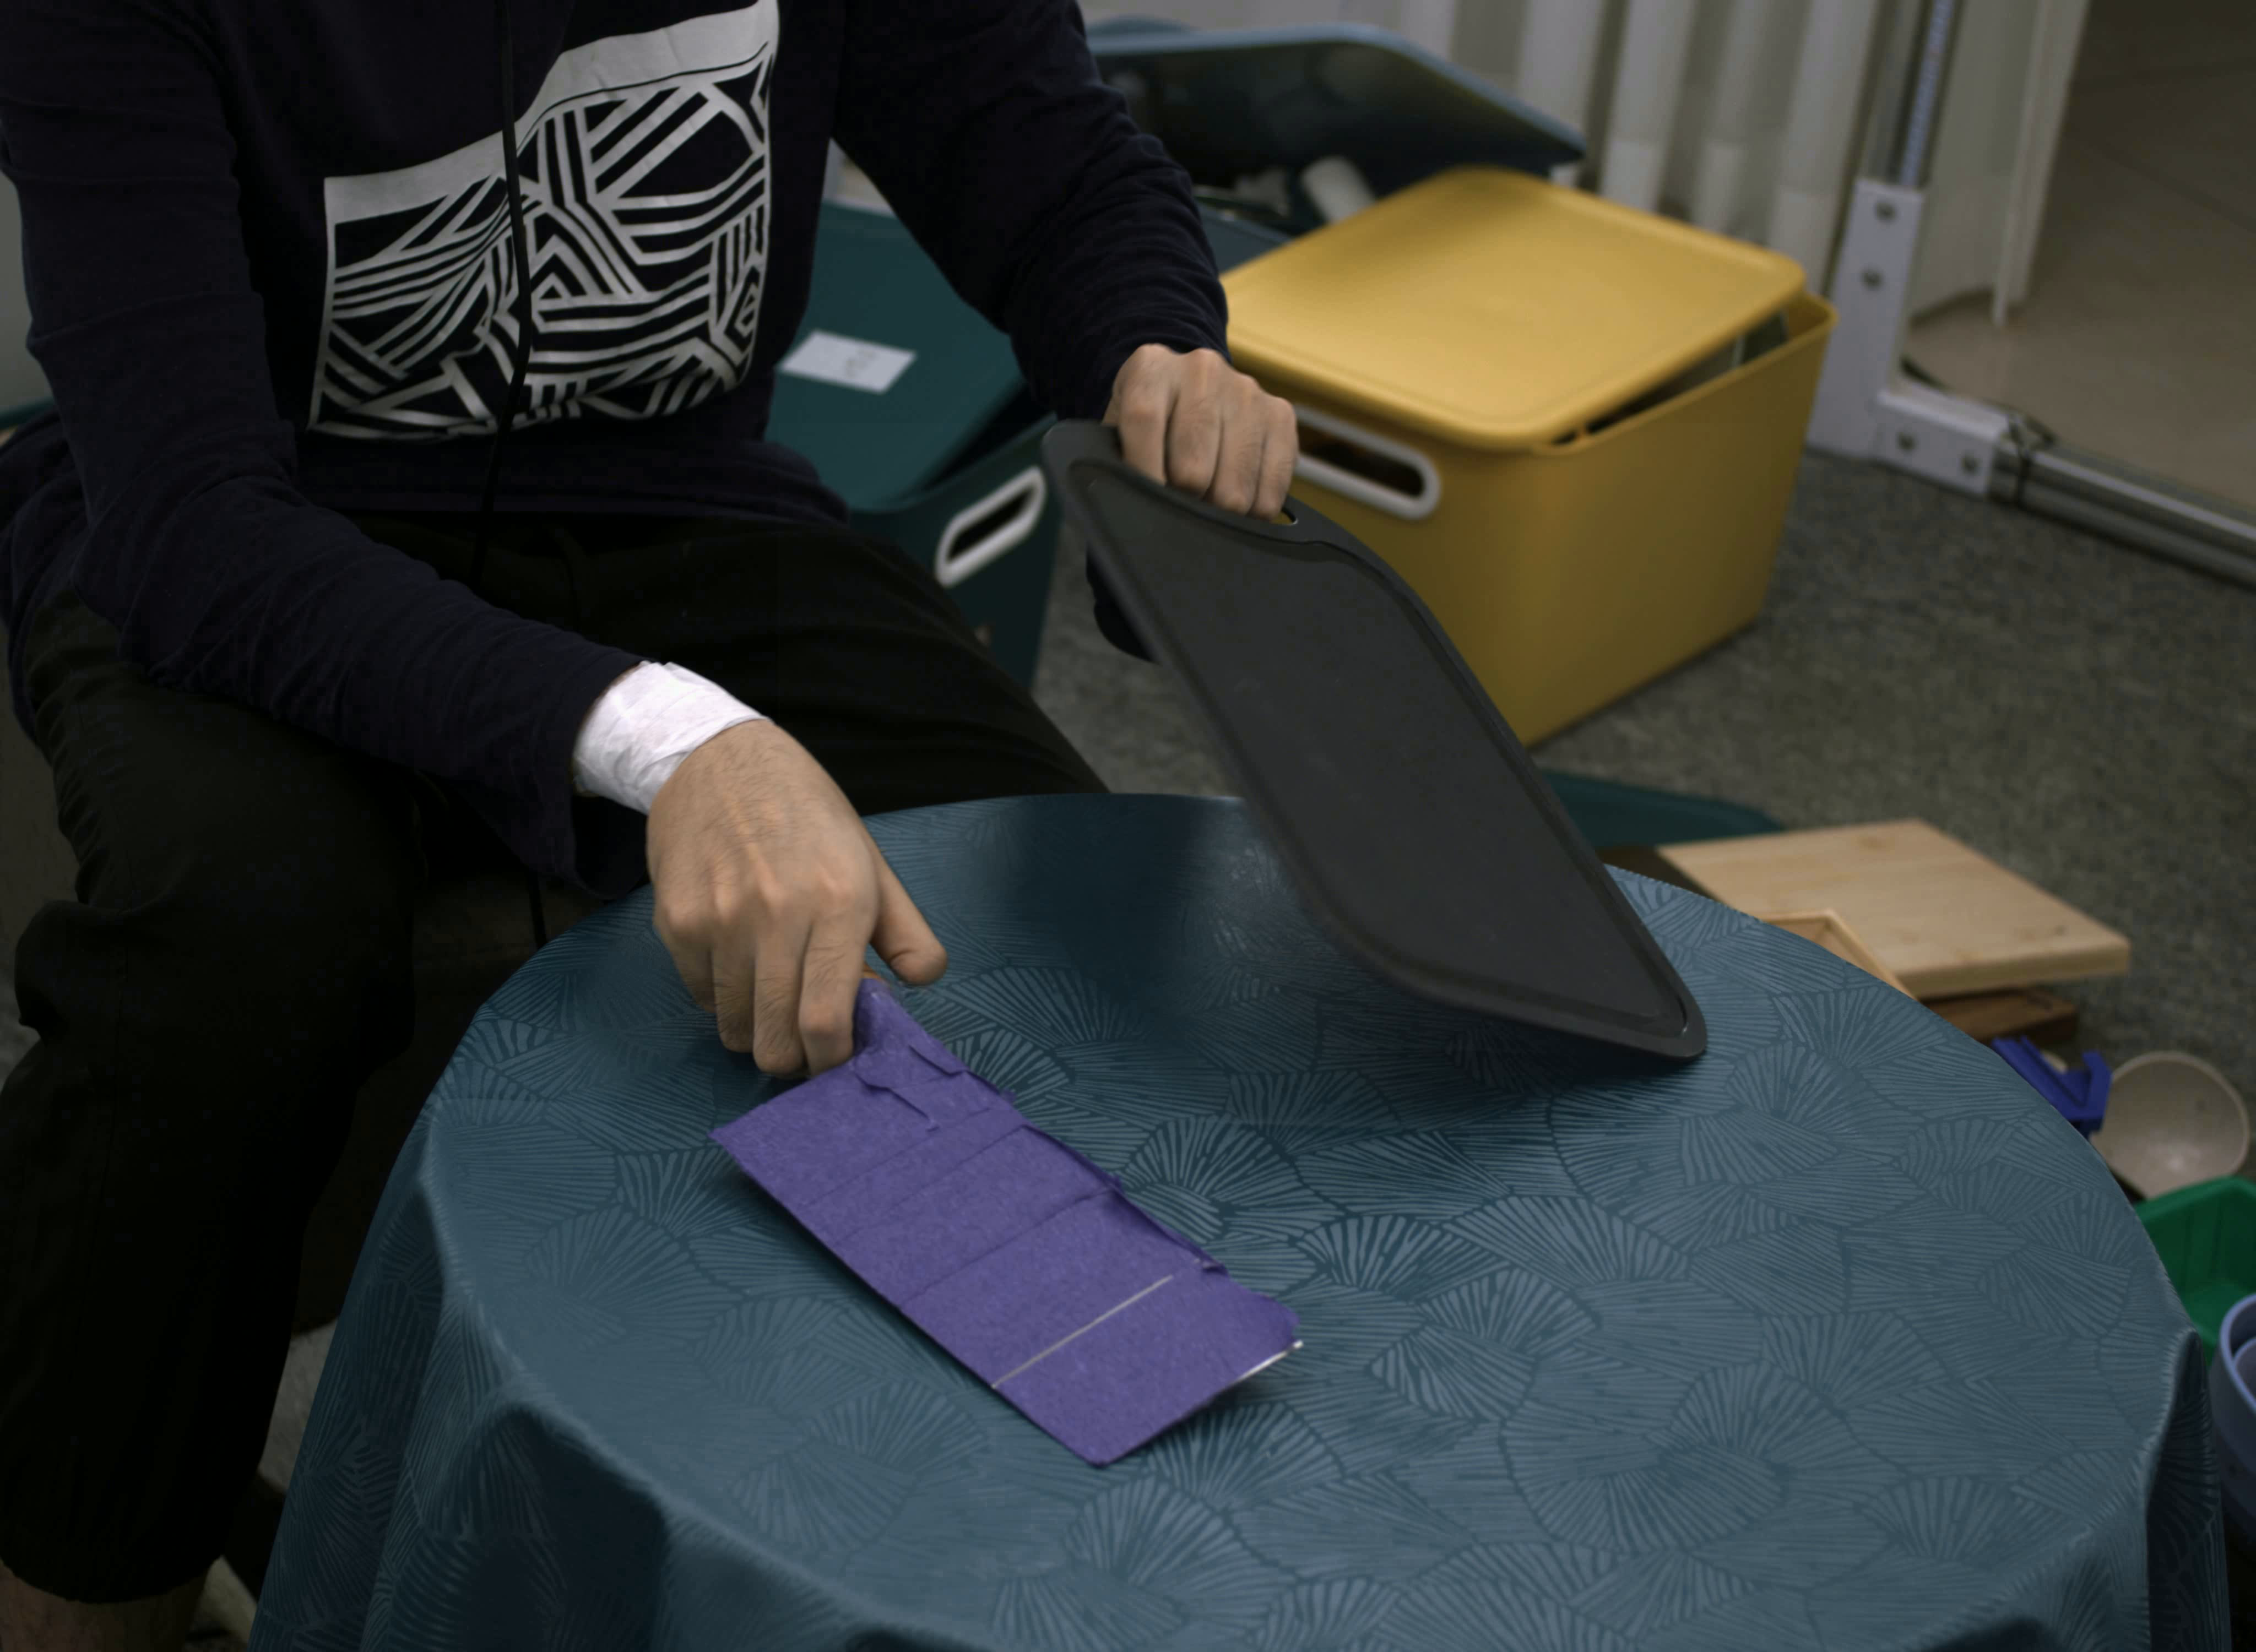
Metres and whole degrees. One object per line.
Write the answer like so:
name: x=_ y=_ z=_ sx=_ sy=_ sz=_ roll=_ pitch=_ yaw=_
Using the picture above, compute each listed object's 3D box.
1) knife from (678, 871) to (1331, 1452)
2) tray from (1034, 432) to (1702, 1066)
knife: x=-0.072 y=0.107 z=1.769 sx=0.103 sy=0.032 sz=0.318 roll=-26 pitch=41 yaw=-31
tray: x=0.084 y=-0.037 z=1.969 sx=0.209 sy=0.010 sz=0.328 roll=14 pitch=34 yaw=-40
